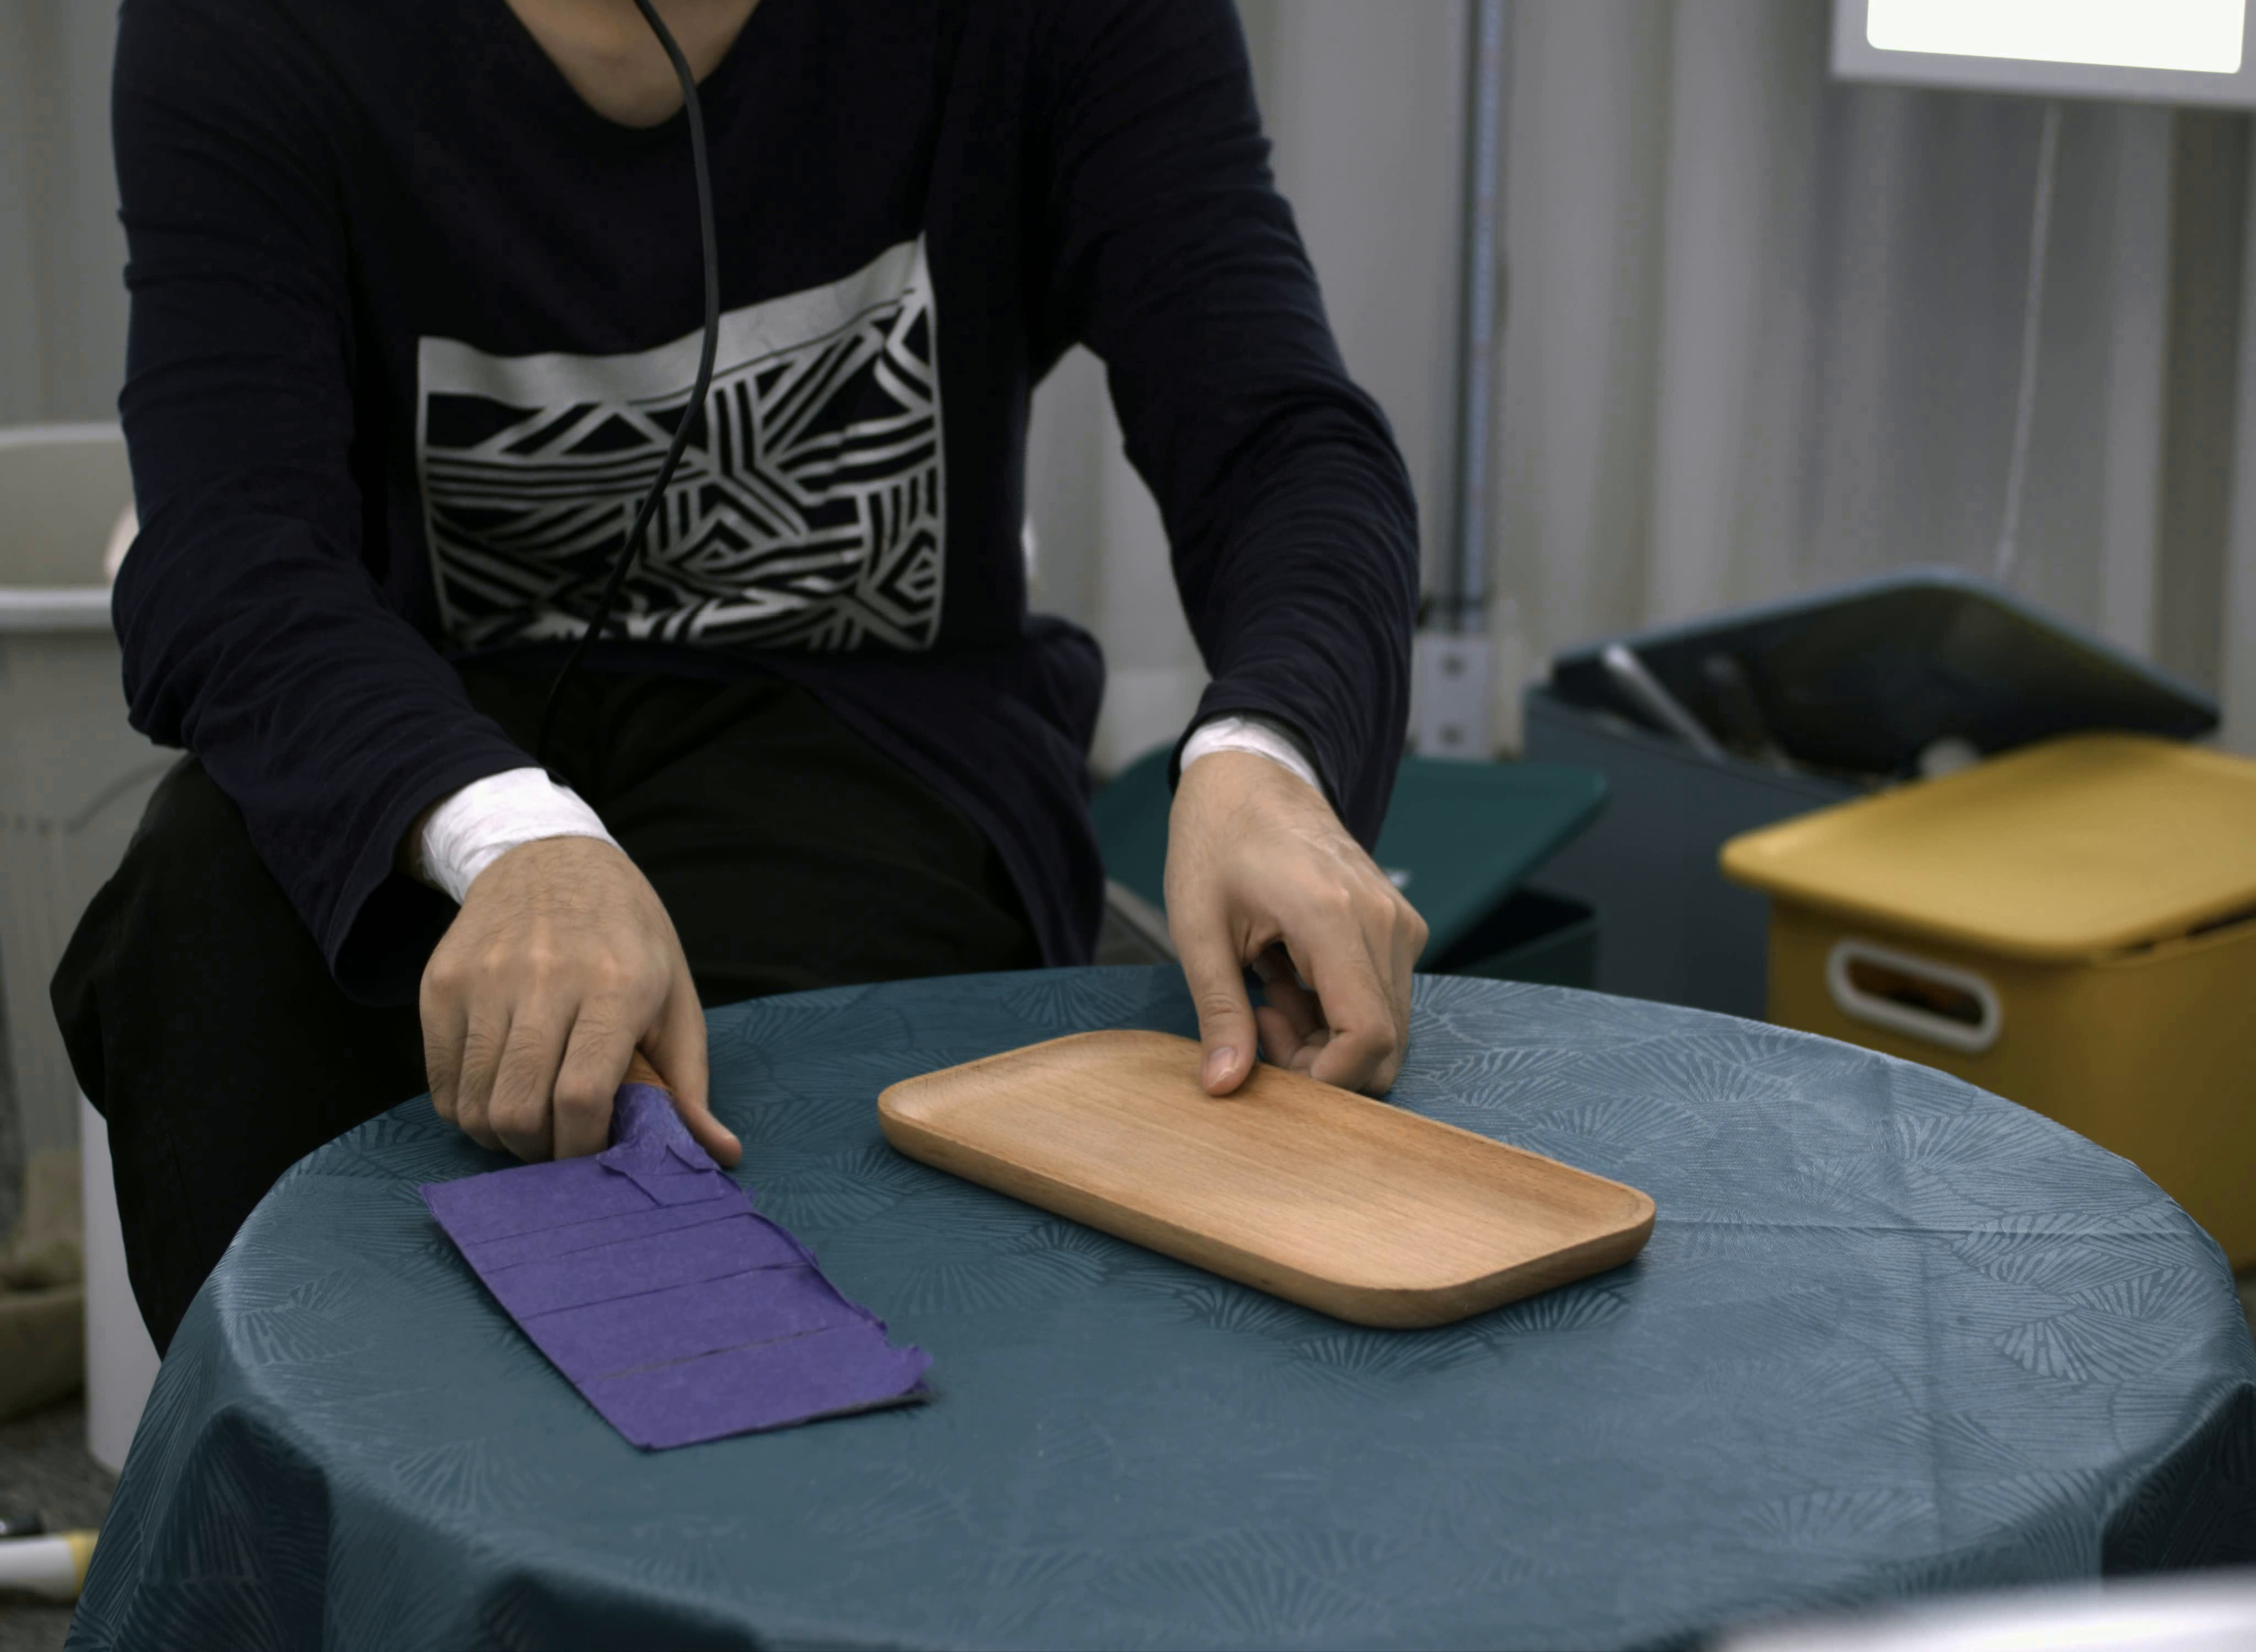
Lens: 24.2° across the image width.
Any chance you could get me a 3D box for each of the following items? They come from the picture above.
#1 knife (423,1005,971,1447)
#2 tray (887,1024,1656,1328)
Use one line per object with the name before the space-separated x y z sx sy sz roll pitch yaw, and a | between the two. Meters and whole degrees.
knife | -0.153 0.114 1.561 0.104 0.032 0.311 -8 18 -24
tray | 0.041 0.105 1.622 0.131 0.023 0.247 -9 17 -39
